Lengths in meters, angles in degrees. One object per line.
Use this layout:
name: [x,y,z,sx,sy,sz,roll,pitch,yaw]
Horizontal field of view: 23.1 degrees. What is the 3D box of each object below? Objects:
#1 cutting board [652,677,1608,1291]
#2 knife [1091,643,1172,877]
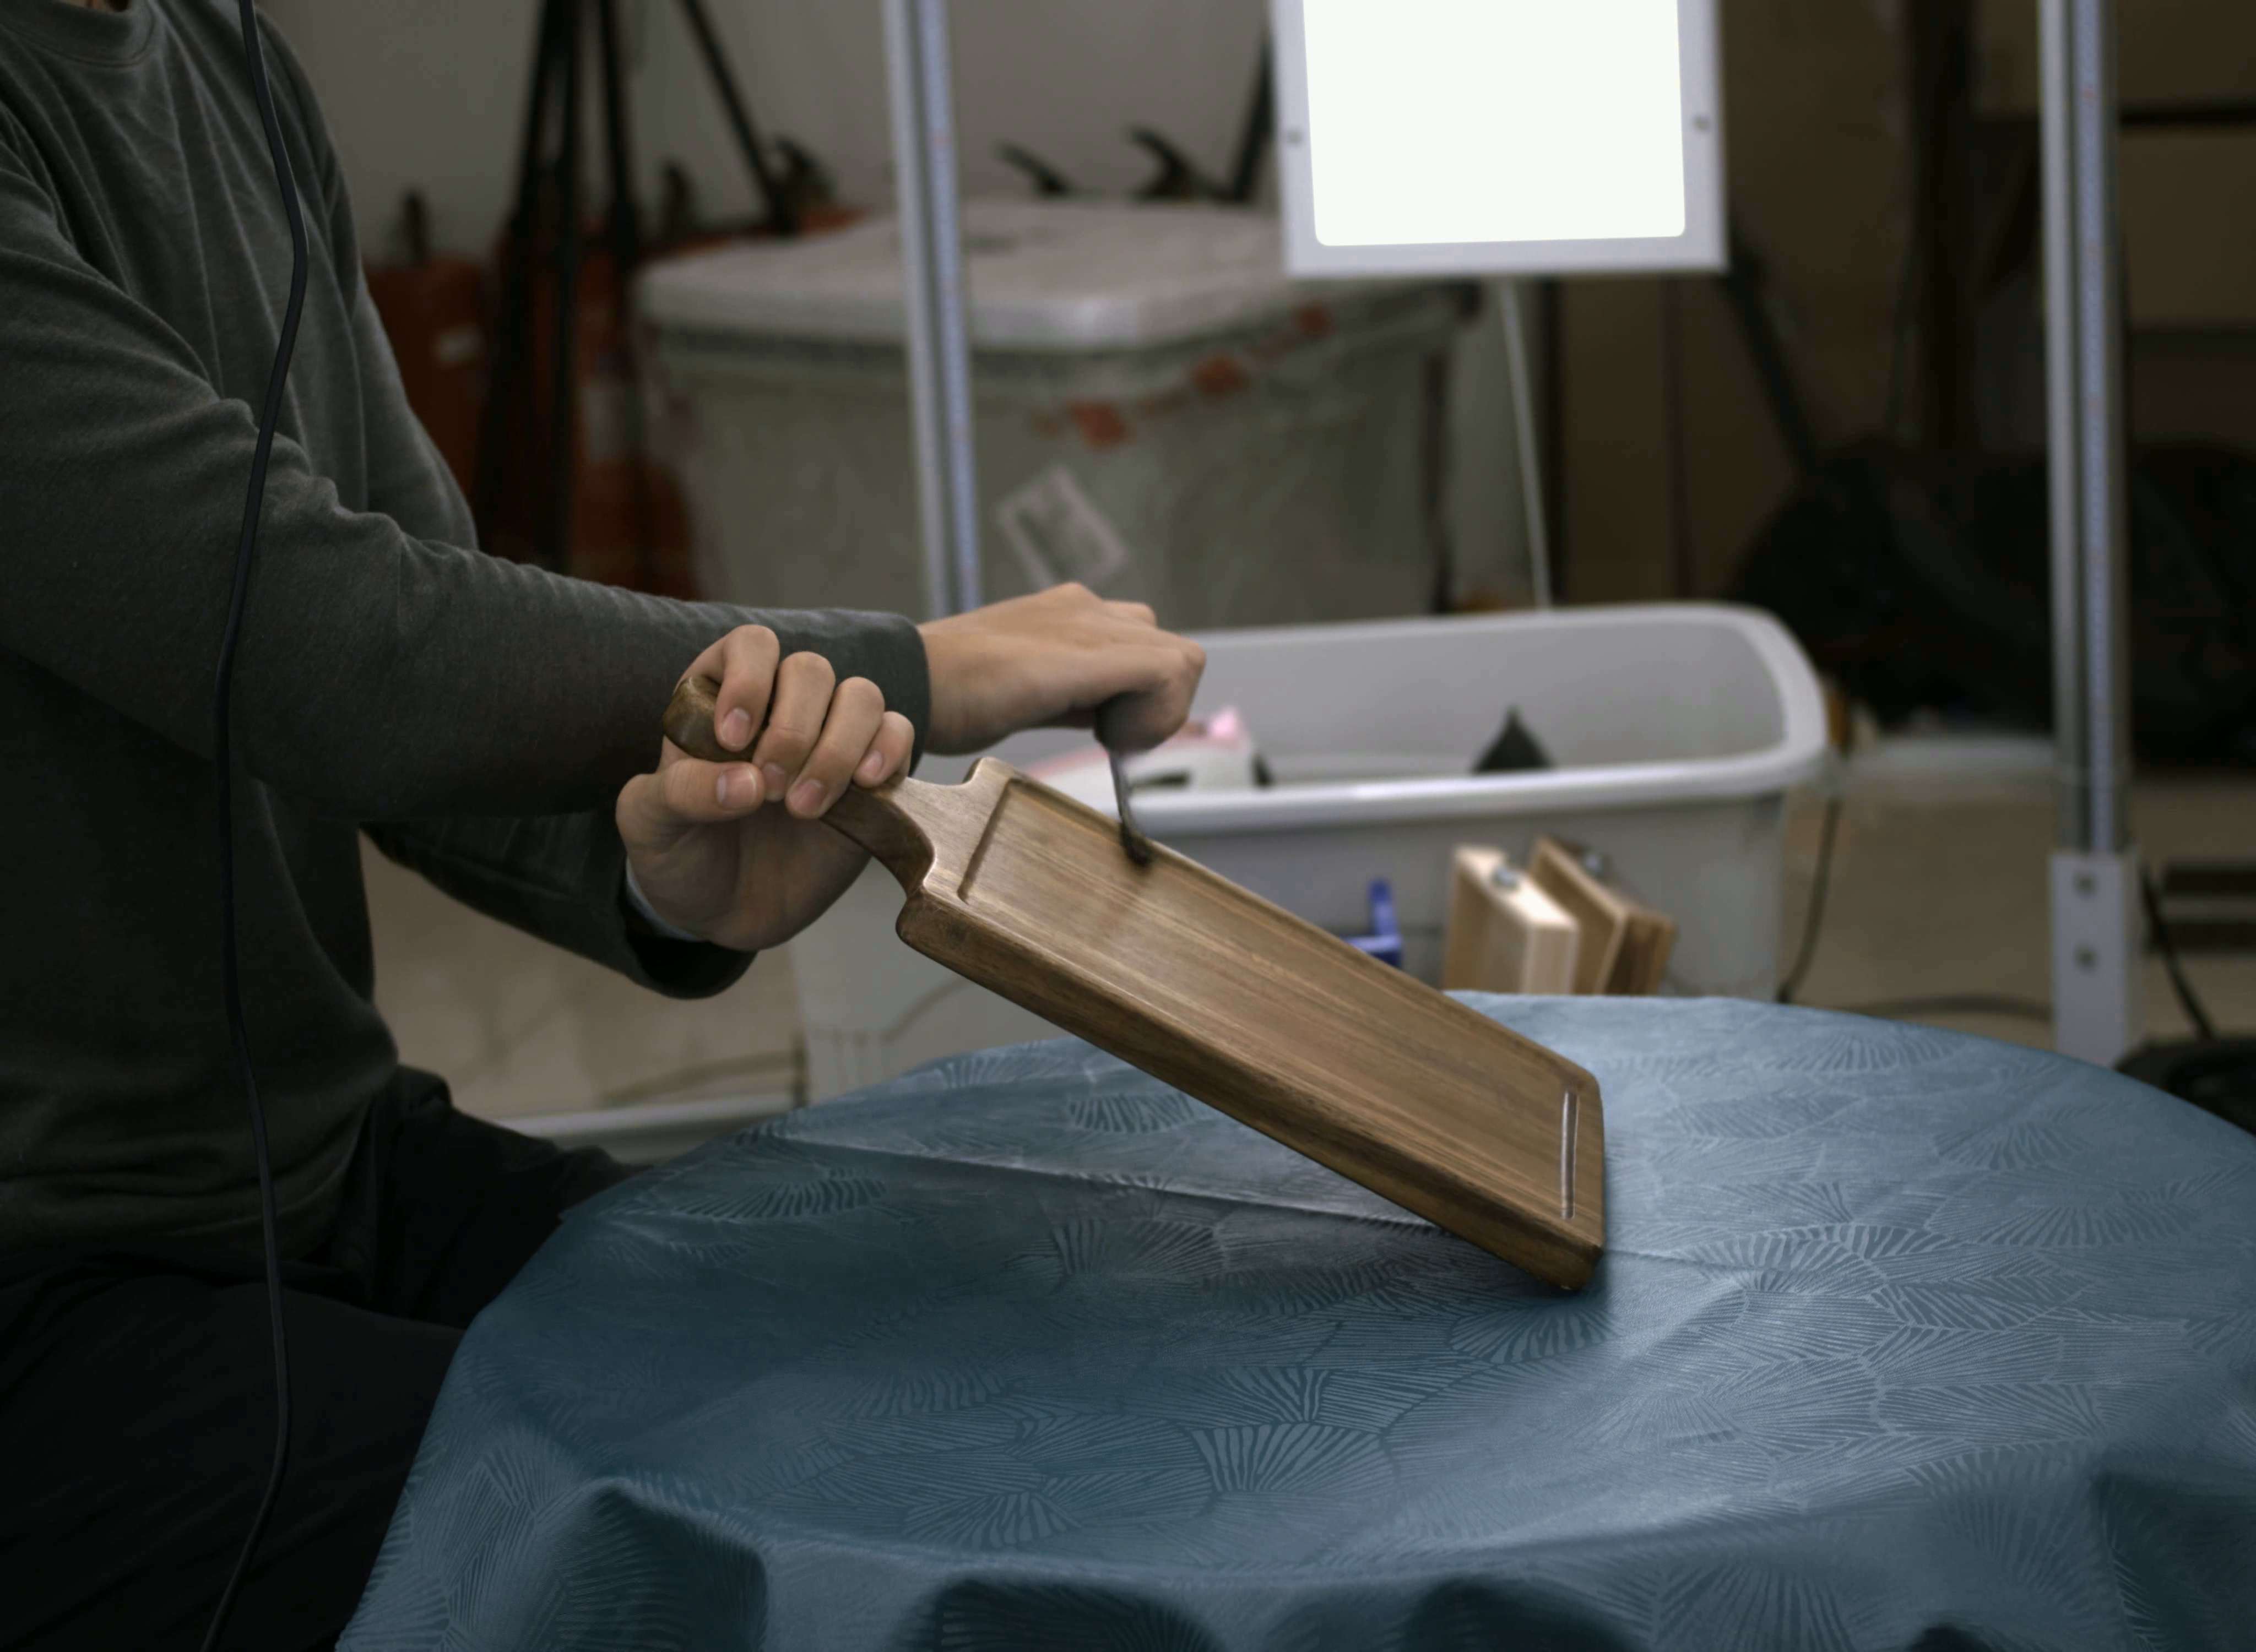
cutting board: [0.002,0.039,1.840,0.351,0.023,0.199,27,15,-1]
knife: [0.001,-0.025,2.004,0.024,0.016,0.238,25,17,-12]
